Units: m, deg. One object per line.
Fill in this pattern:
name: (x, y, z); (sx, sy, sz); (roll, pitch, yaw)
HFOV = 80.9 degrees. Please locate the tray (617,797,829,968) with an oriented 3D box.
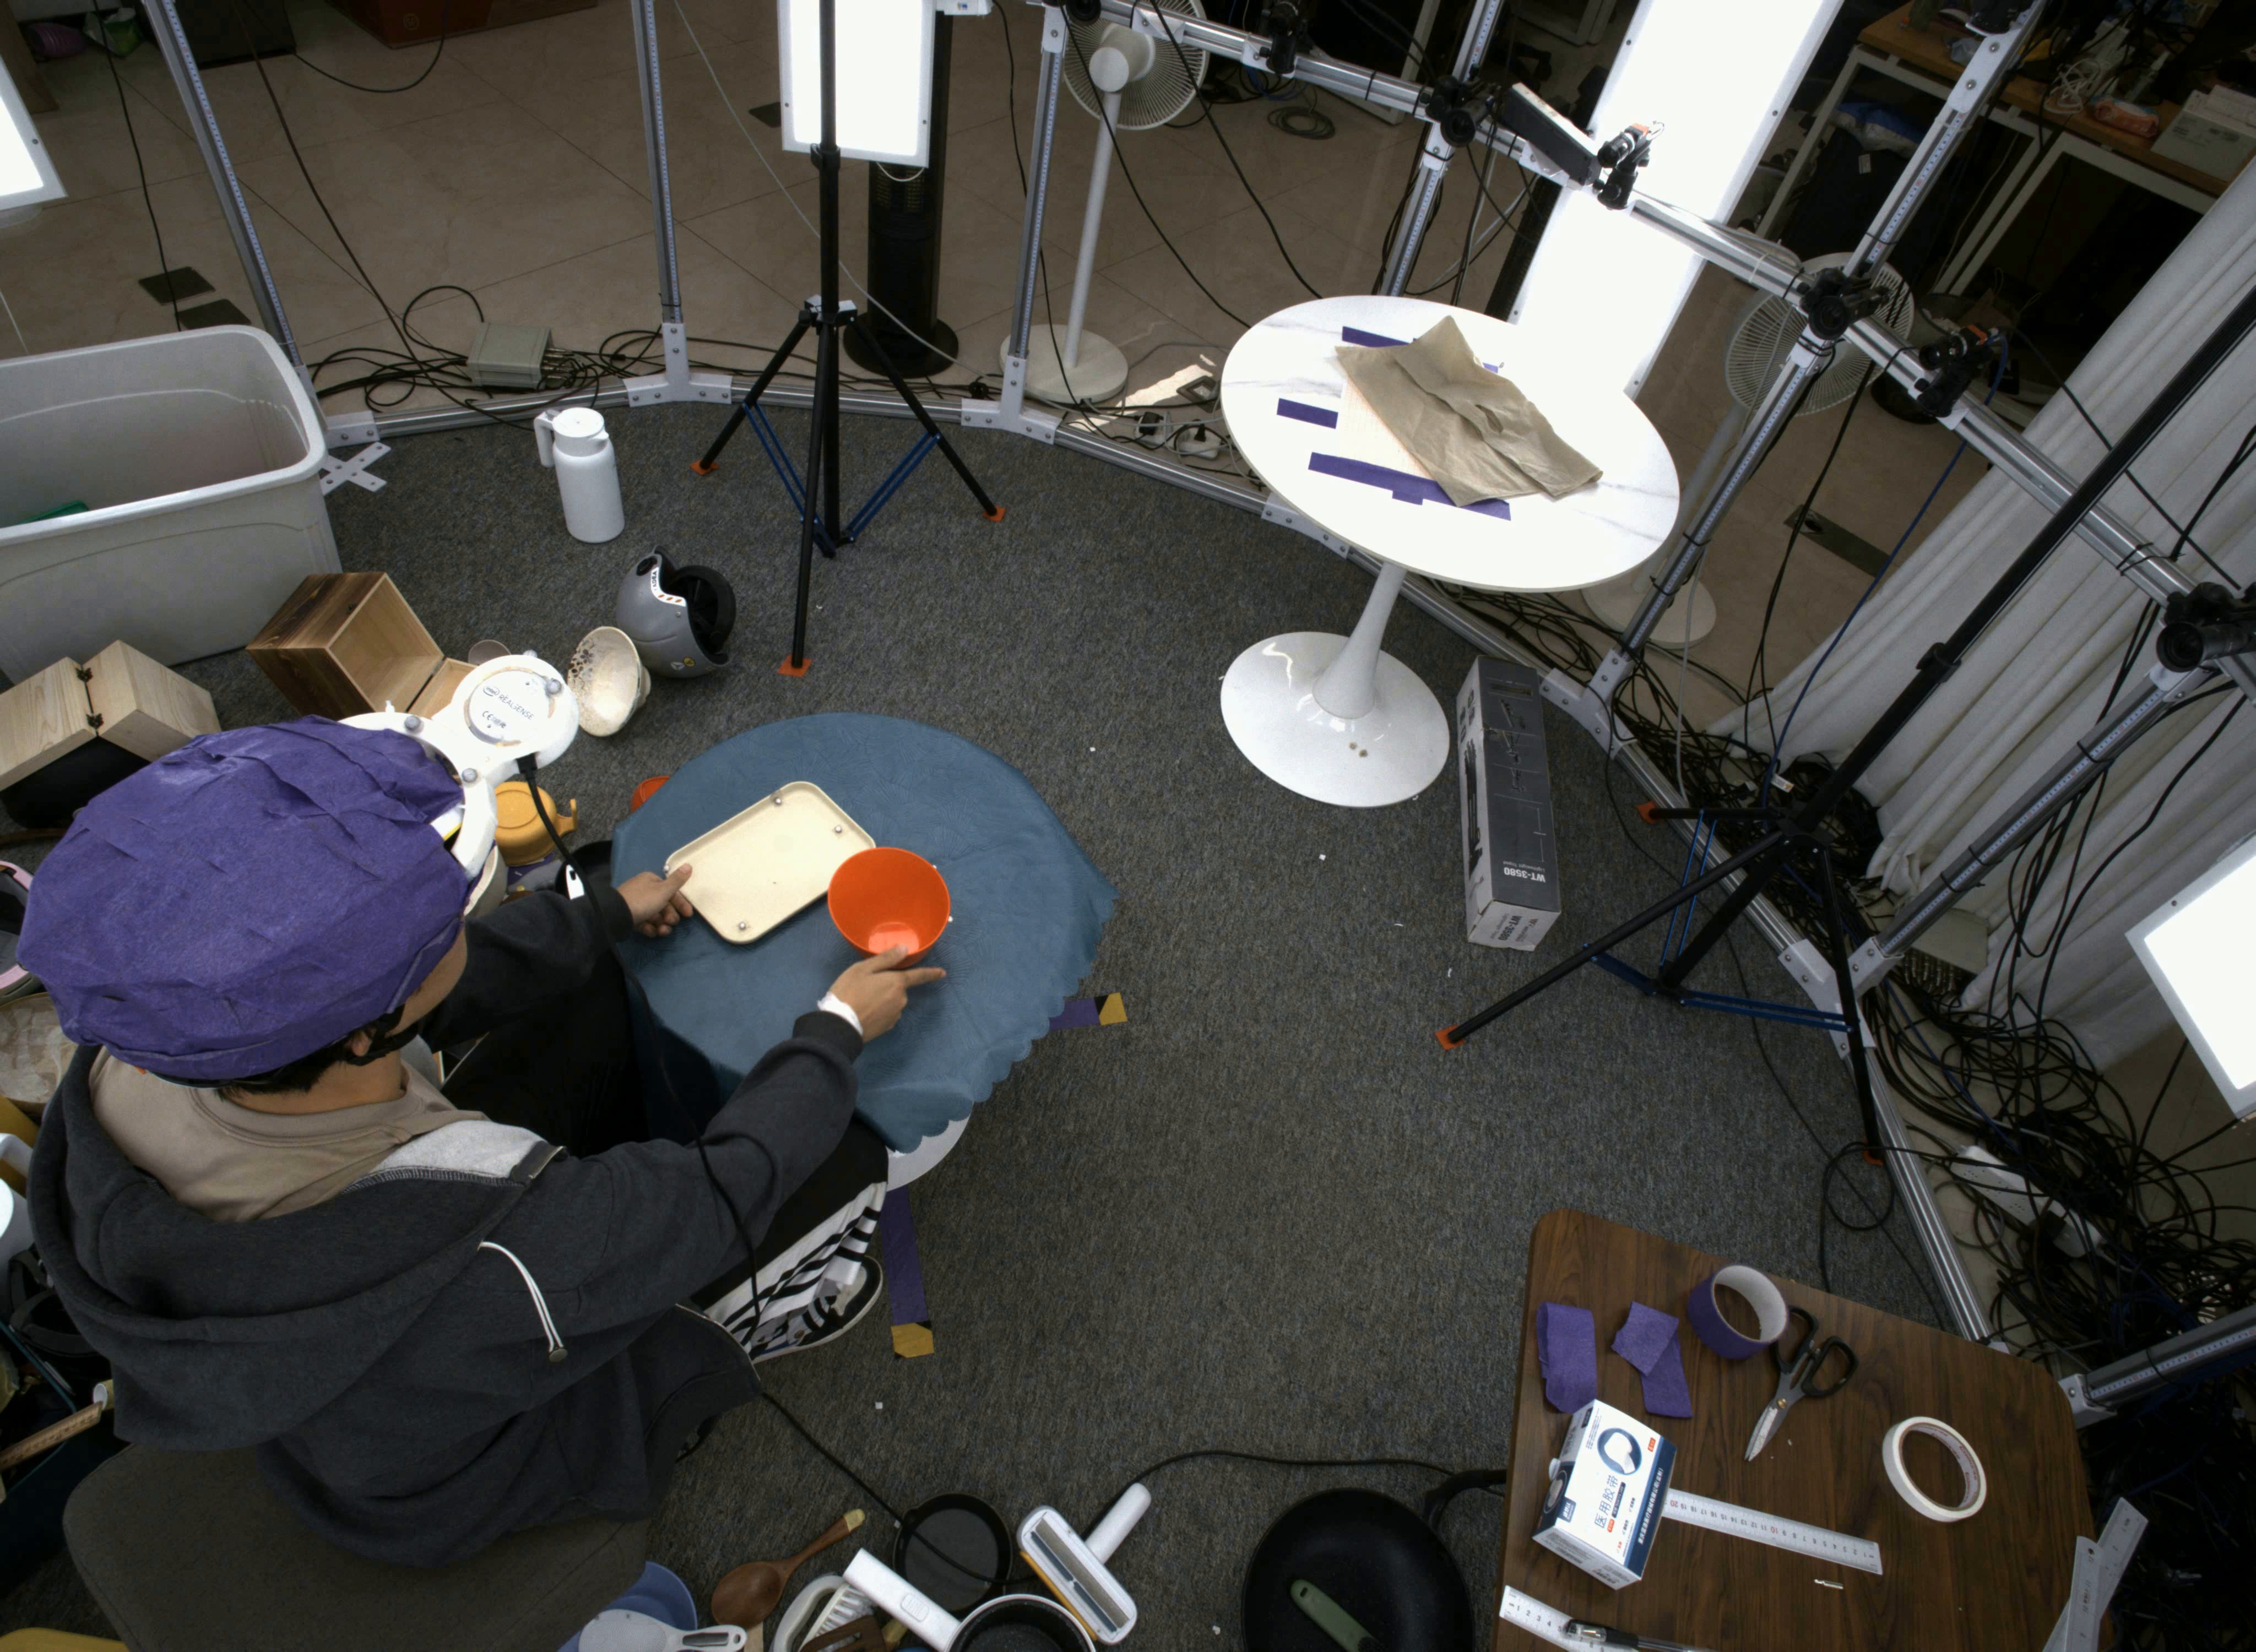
tray: (-0.514, 0.068, 1.644); (0.168, 0.018, 0.240); (39, 54, 14)

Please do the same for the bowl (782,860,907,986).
bowl: (-0.345, 0.129, 1.588); (0.147, 0.107, 0.145); (8, 50, -8)
